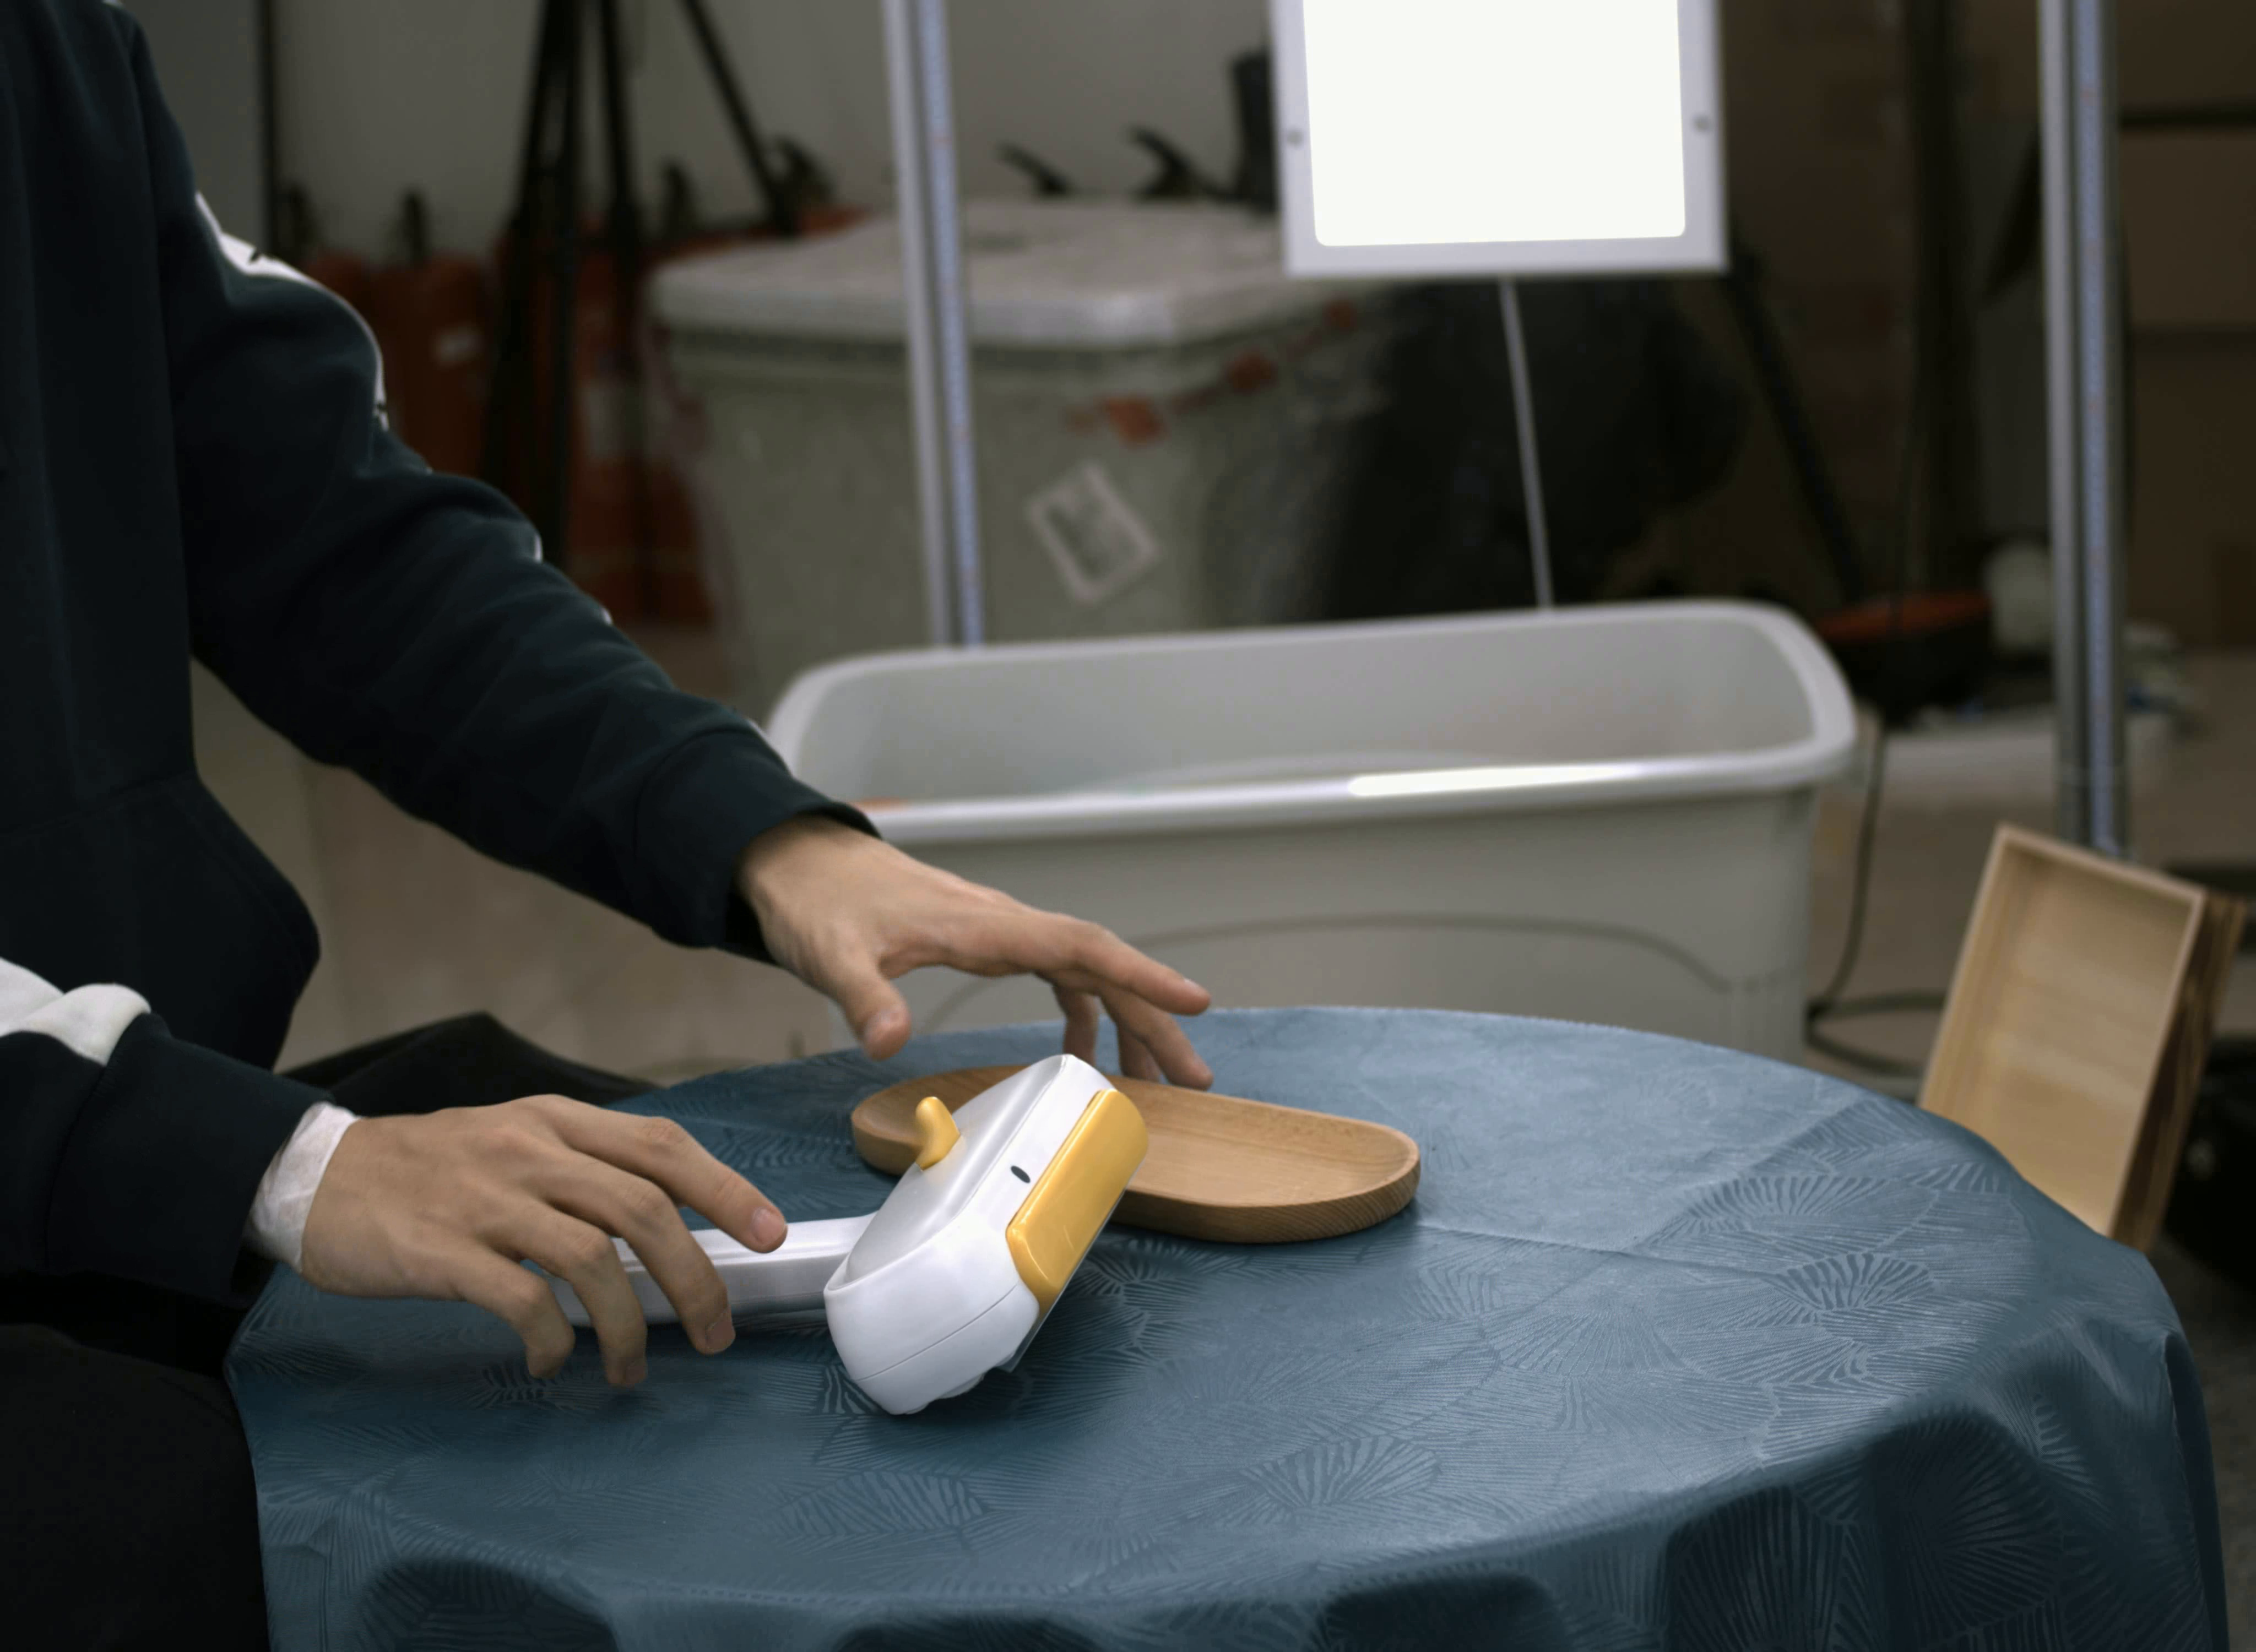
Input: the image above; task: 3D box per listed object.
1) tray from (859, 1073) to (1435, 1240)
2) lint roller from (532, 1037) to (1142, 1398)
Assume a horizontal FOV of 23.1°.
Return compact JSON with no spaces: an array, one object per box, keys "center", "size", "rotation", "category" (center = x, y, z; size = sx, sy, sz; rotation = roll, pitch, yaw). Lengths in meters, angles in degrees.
[{"center":[0.005,0.114,1.911],"size":[0.236,0.020,0.099],"rotation":[8,19,41],"category":"tray"},{"center":[-0.098,0.139,1.780],"size":[0.194,0.074,0.191],"rotation":[-21,16,17],"category":"lint roller"}]
